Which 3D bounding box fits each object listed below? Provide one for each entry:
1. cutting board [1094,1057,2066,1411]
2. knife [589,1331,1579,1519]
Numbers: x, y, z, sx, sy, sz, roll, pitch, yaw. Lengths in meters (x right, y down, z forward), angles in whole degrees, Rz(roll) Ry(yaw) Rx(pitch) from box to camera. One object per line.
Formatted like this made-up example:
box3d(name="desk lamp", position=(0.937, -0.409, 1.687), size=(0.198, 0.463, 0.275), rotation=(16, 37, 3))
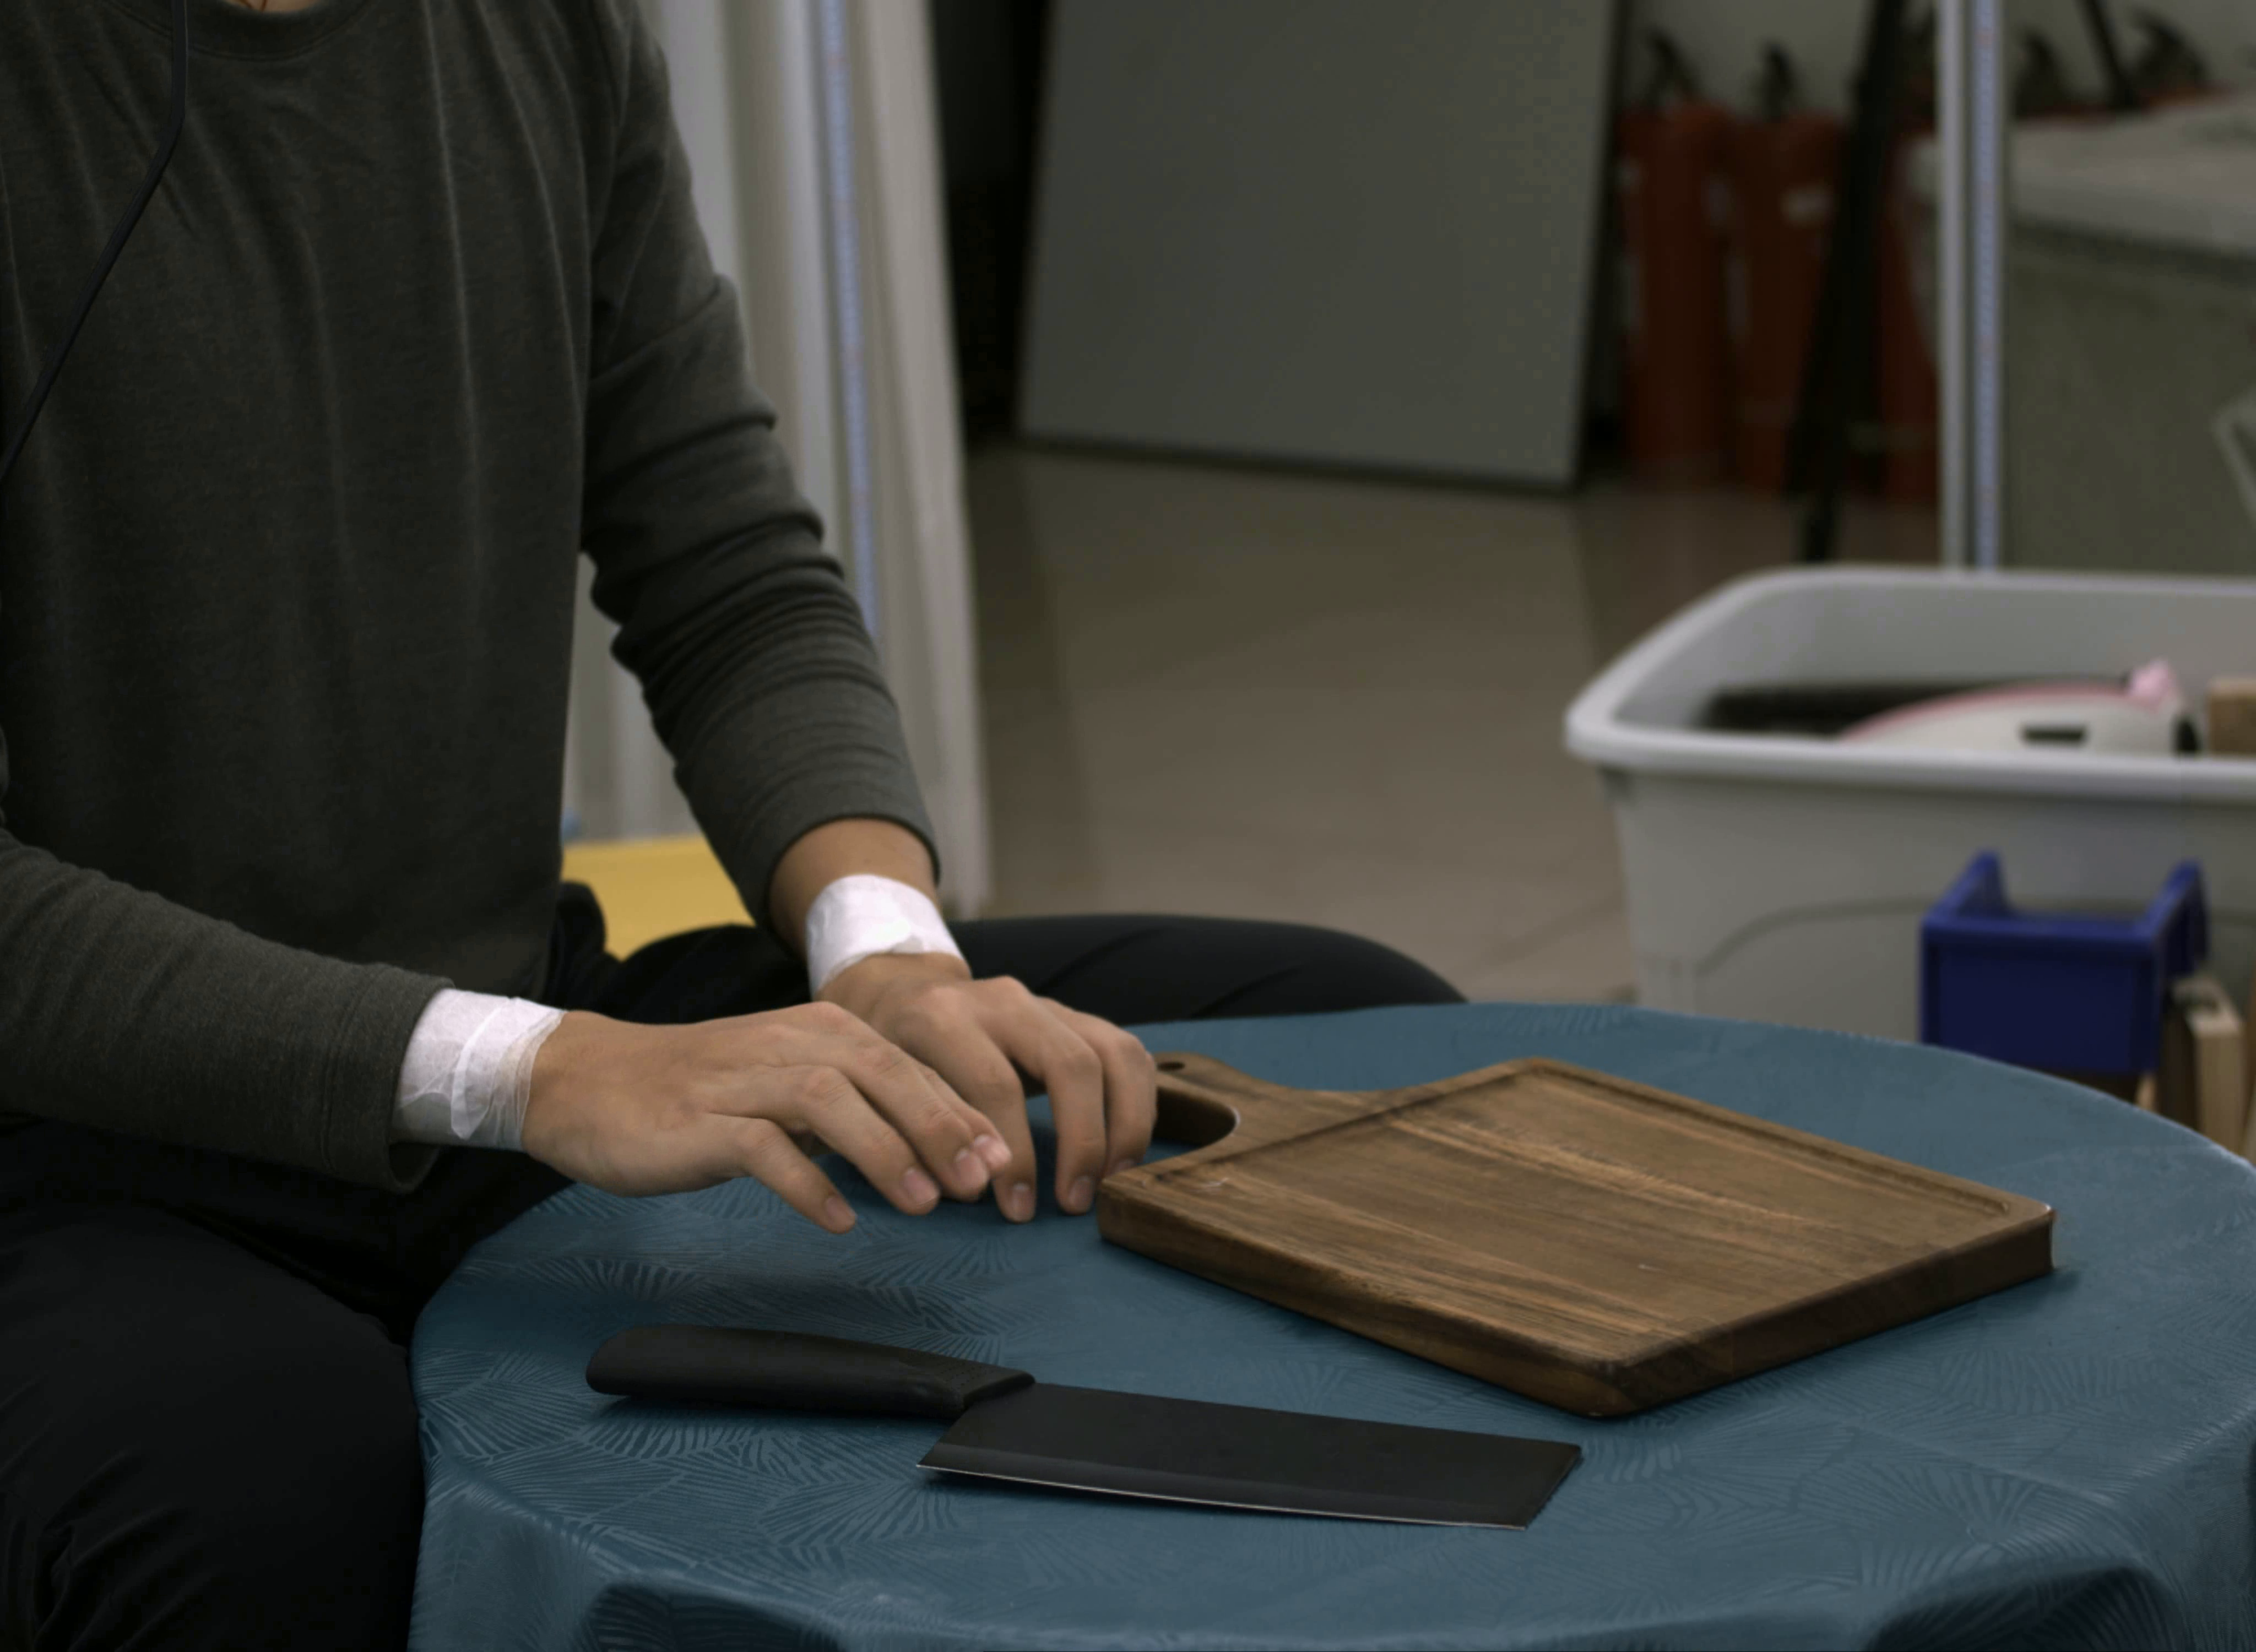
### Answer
box3d(name="cutting board", position=(0.108, 0.116, 1.720), size=(0.196, 0.023, 0.356), rotation=(-13, 16, -35))
box3d(name="knife", position=(-0.019, 0.172, 1.541), size=(0.303, 0.021, 0.080), rotation=(5, 17, 26))
